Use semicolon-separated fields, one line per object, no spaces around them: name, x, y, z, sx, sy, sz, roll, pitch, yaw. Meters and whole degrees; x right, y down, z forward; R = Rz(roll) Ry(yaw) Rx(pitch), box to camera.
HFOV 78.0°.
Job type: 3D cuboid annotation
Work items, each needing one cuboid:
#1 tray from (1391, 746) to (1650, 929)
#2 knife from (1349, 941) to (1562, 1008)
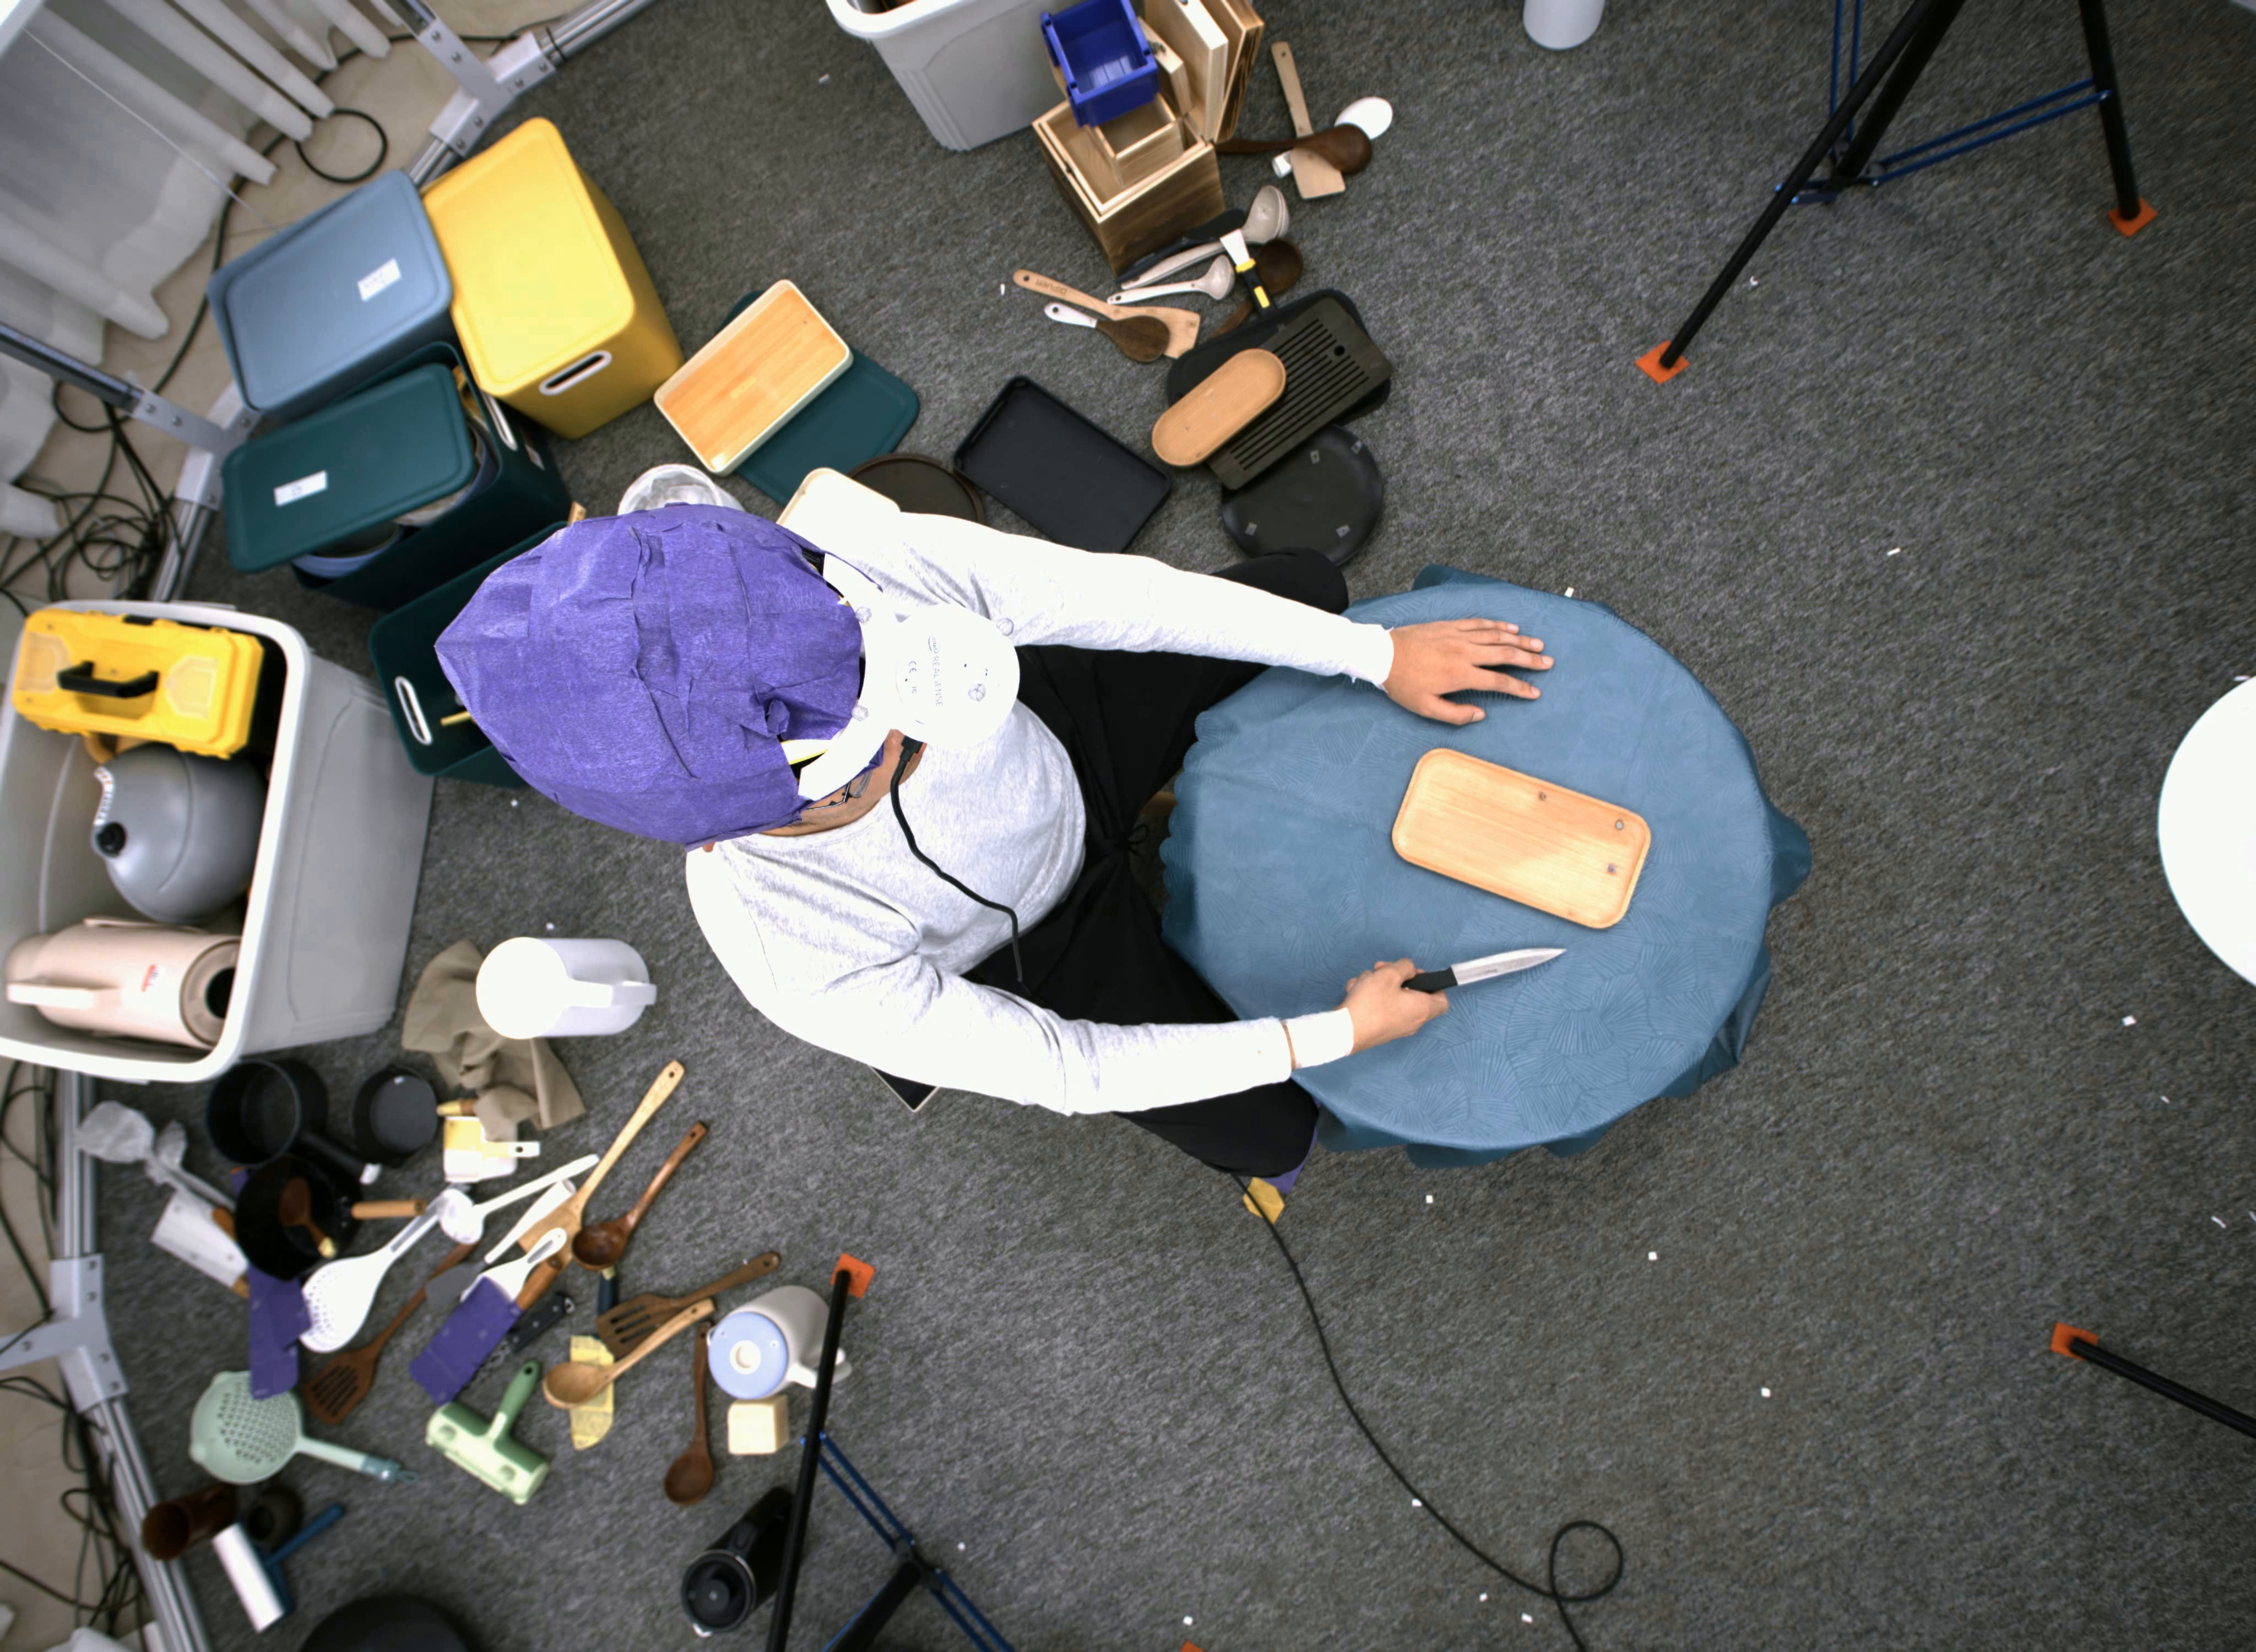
tray;0.406;0.009;1.430;0.250;0.023;0.130;21;88;12
knife;0.337;0.148;1.401;0.237;0.016;0.024;-13;74;-10
